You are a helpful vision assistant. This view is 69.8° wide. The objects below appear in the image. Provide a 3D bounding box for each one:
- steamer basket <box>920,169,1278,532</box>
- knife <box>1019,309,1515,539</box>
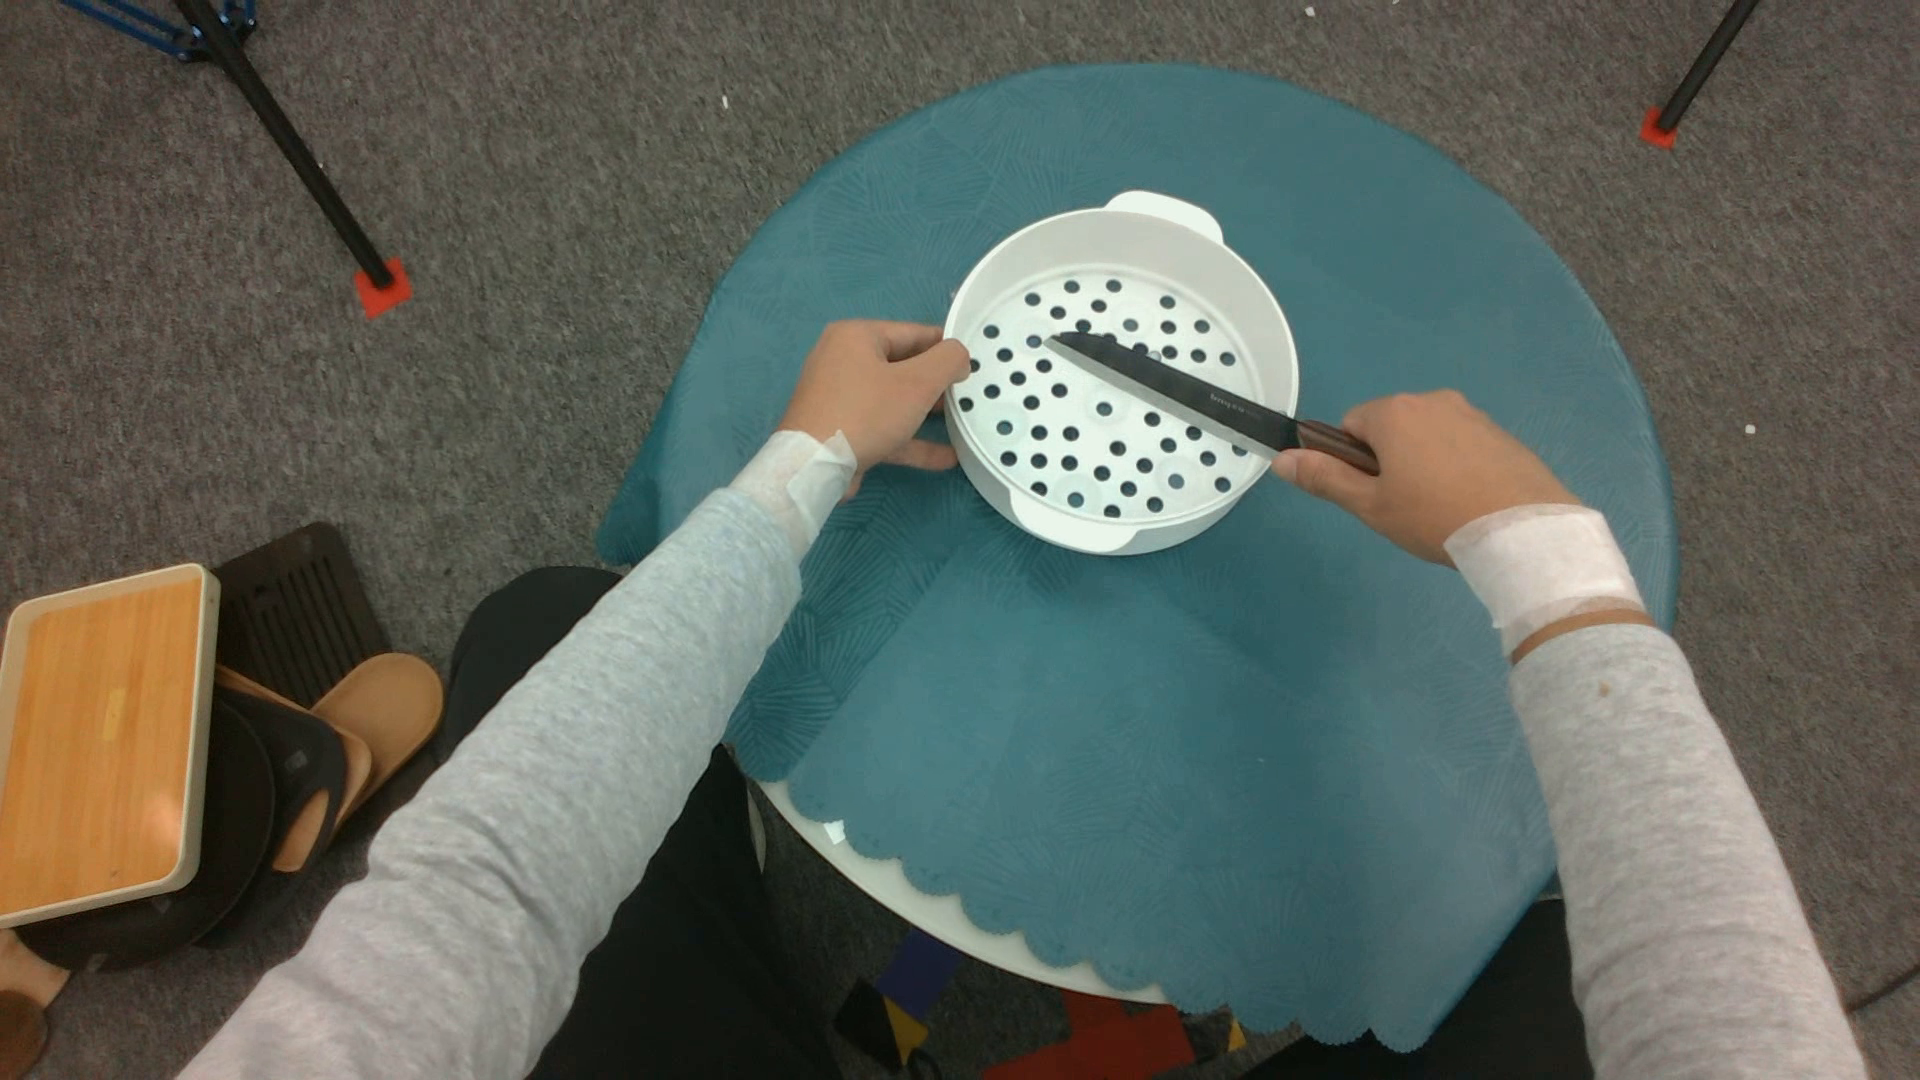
[{"bbox_3d":[0.077,-0.102,0.796,0.202,0.069,0.231,17,69,3],"label":"steamer basket"},{"bbox_3d":[0.149,-0.067,0.727,0.289,0.050,0.020,27,65,26],"label":"knife"}]
